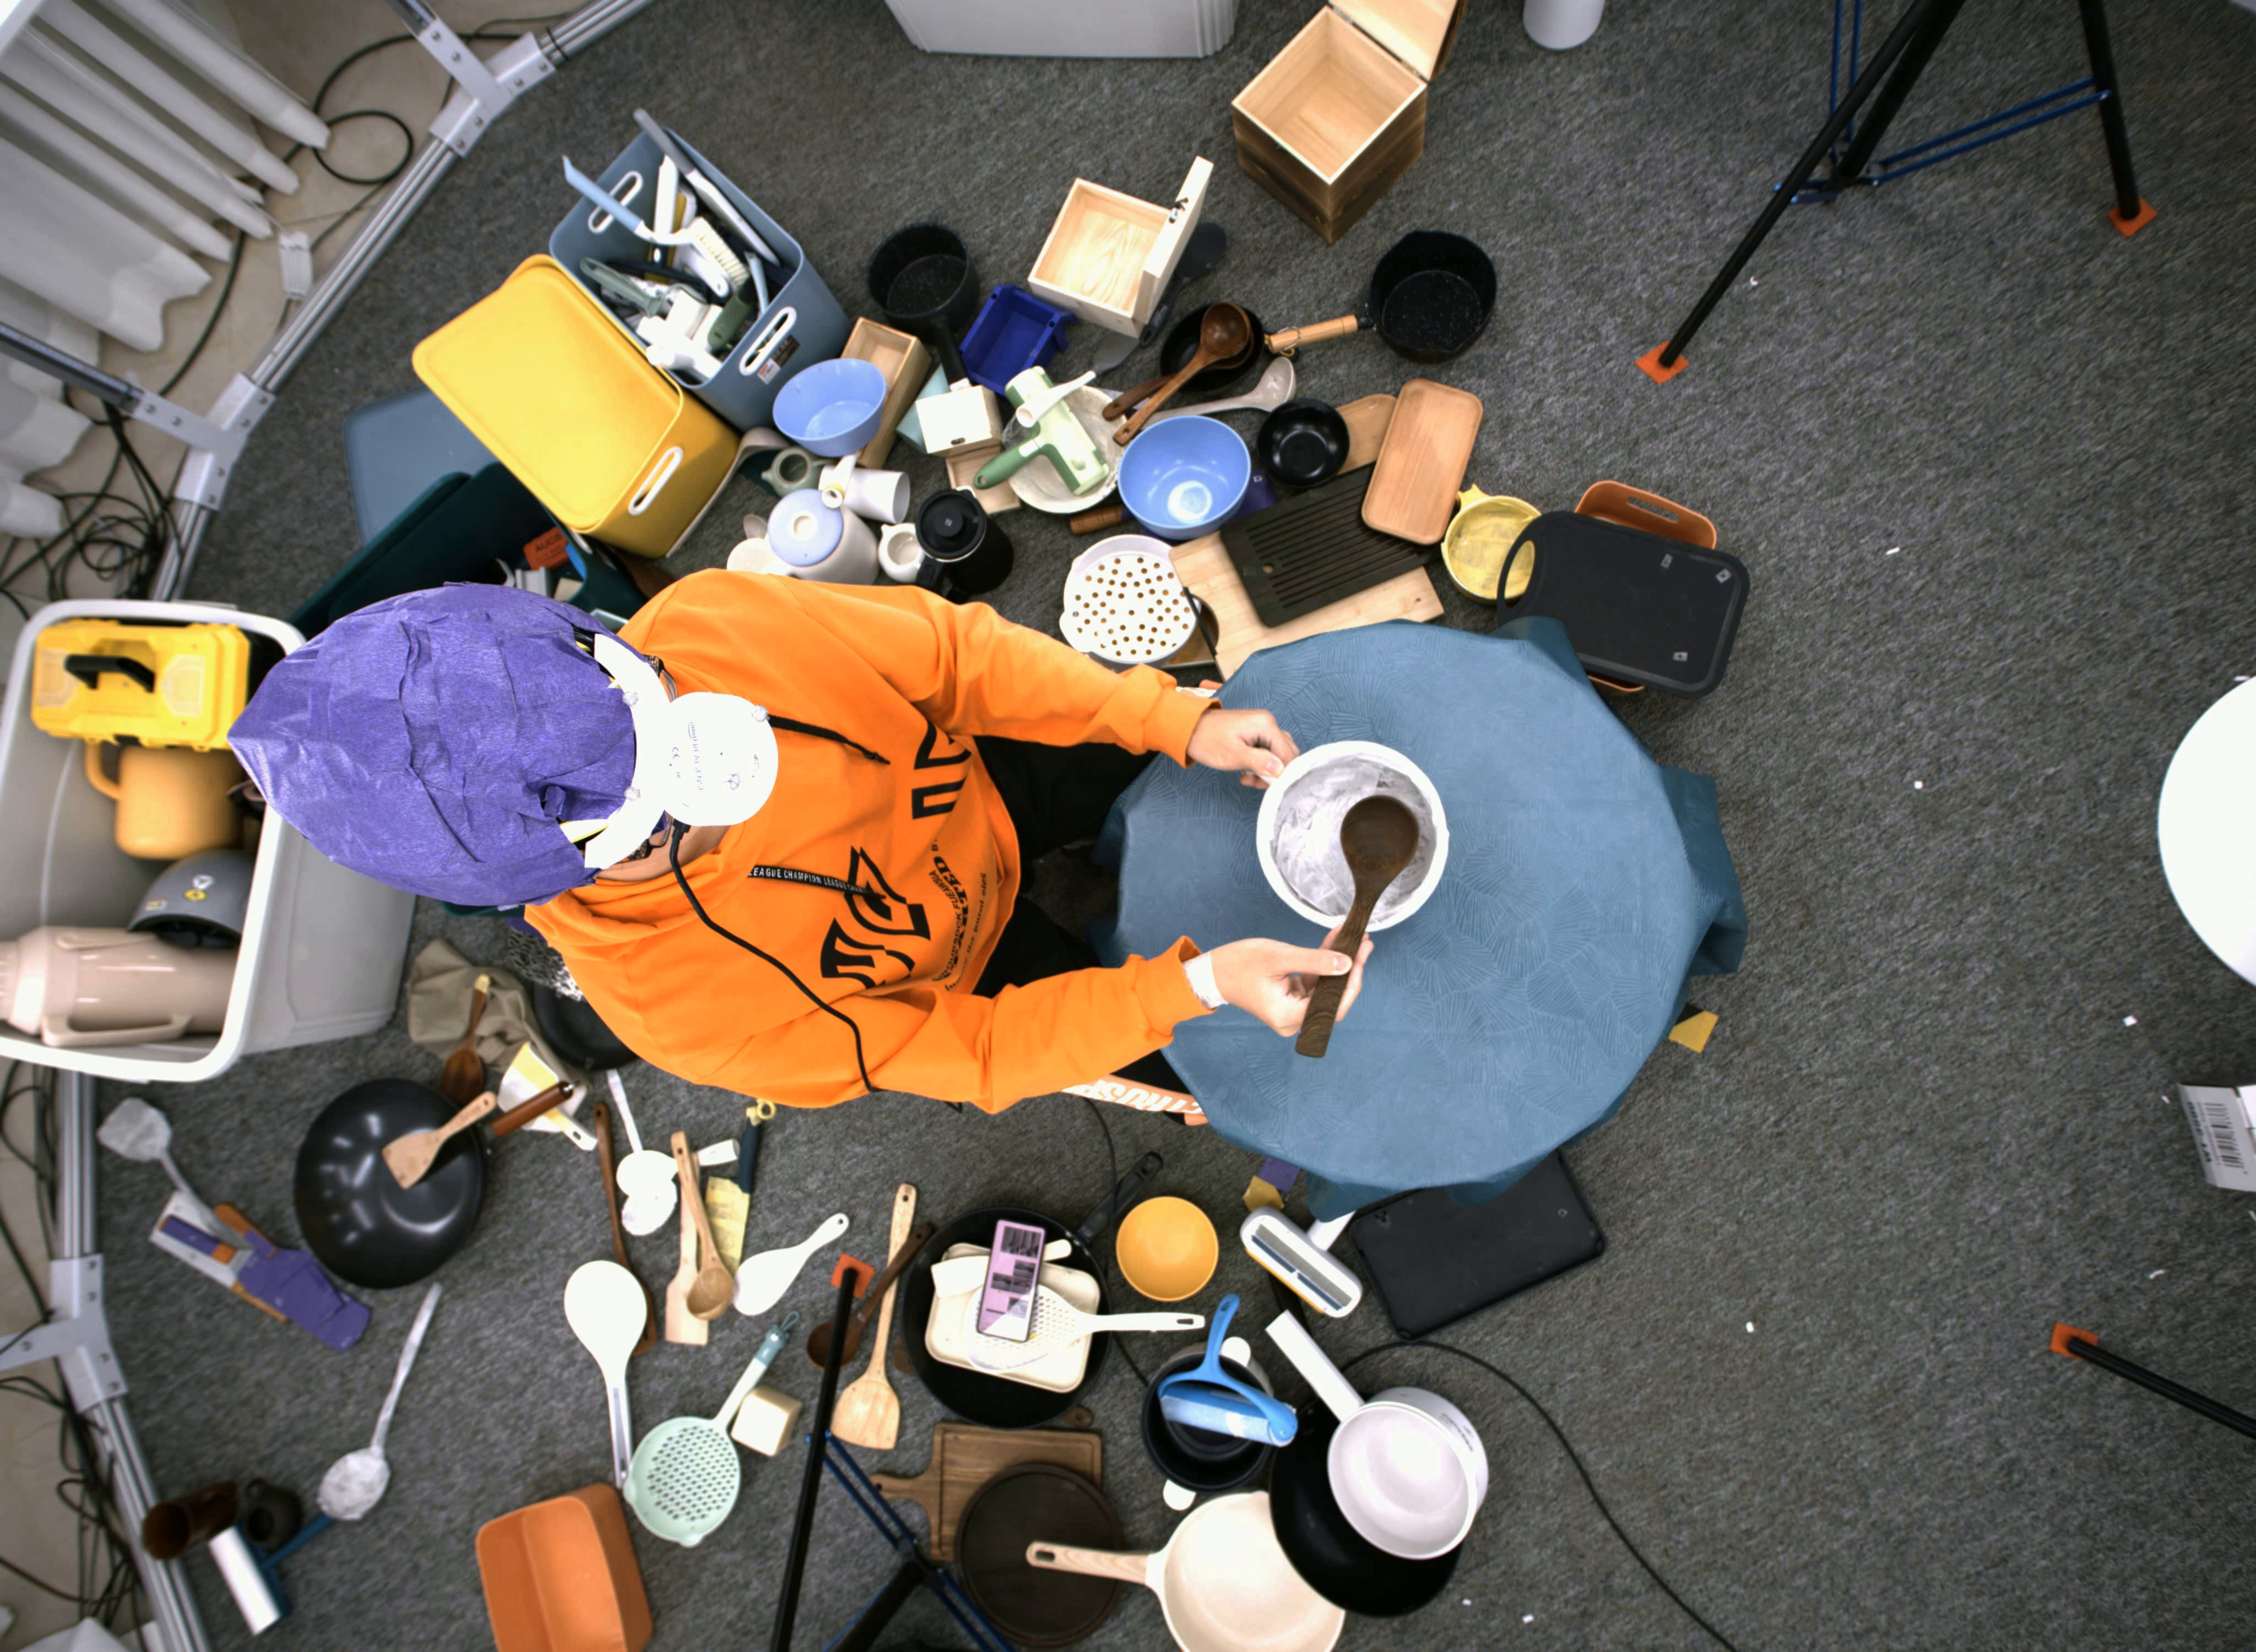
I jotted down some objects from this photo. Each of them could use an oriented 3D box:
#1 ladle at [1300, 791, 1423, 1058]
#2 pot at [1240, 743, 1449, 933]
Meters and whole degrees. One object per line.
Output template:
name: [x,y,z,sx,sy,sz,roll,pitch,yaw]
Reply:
ladle: [0.197,0.076,1.213,0.076,0.073,0.267,6,45,25]
pot: [0.202,-0.002,1.354,0.232,0.136,0.179,39,95,13]
